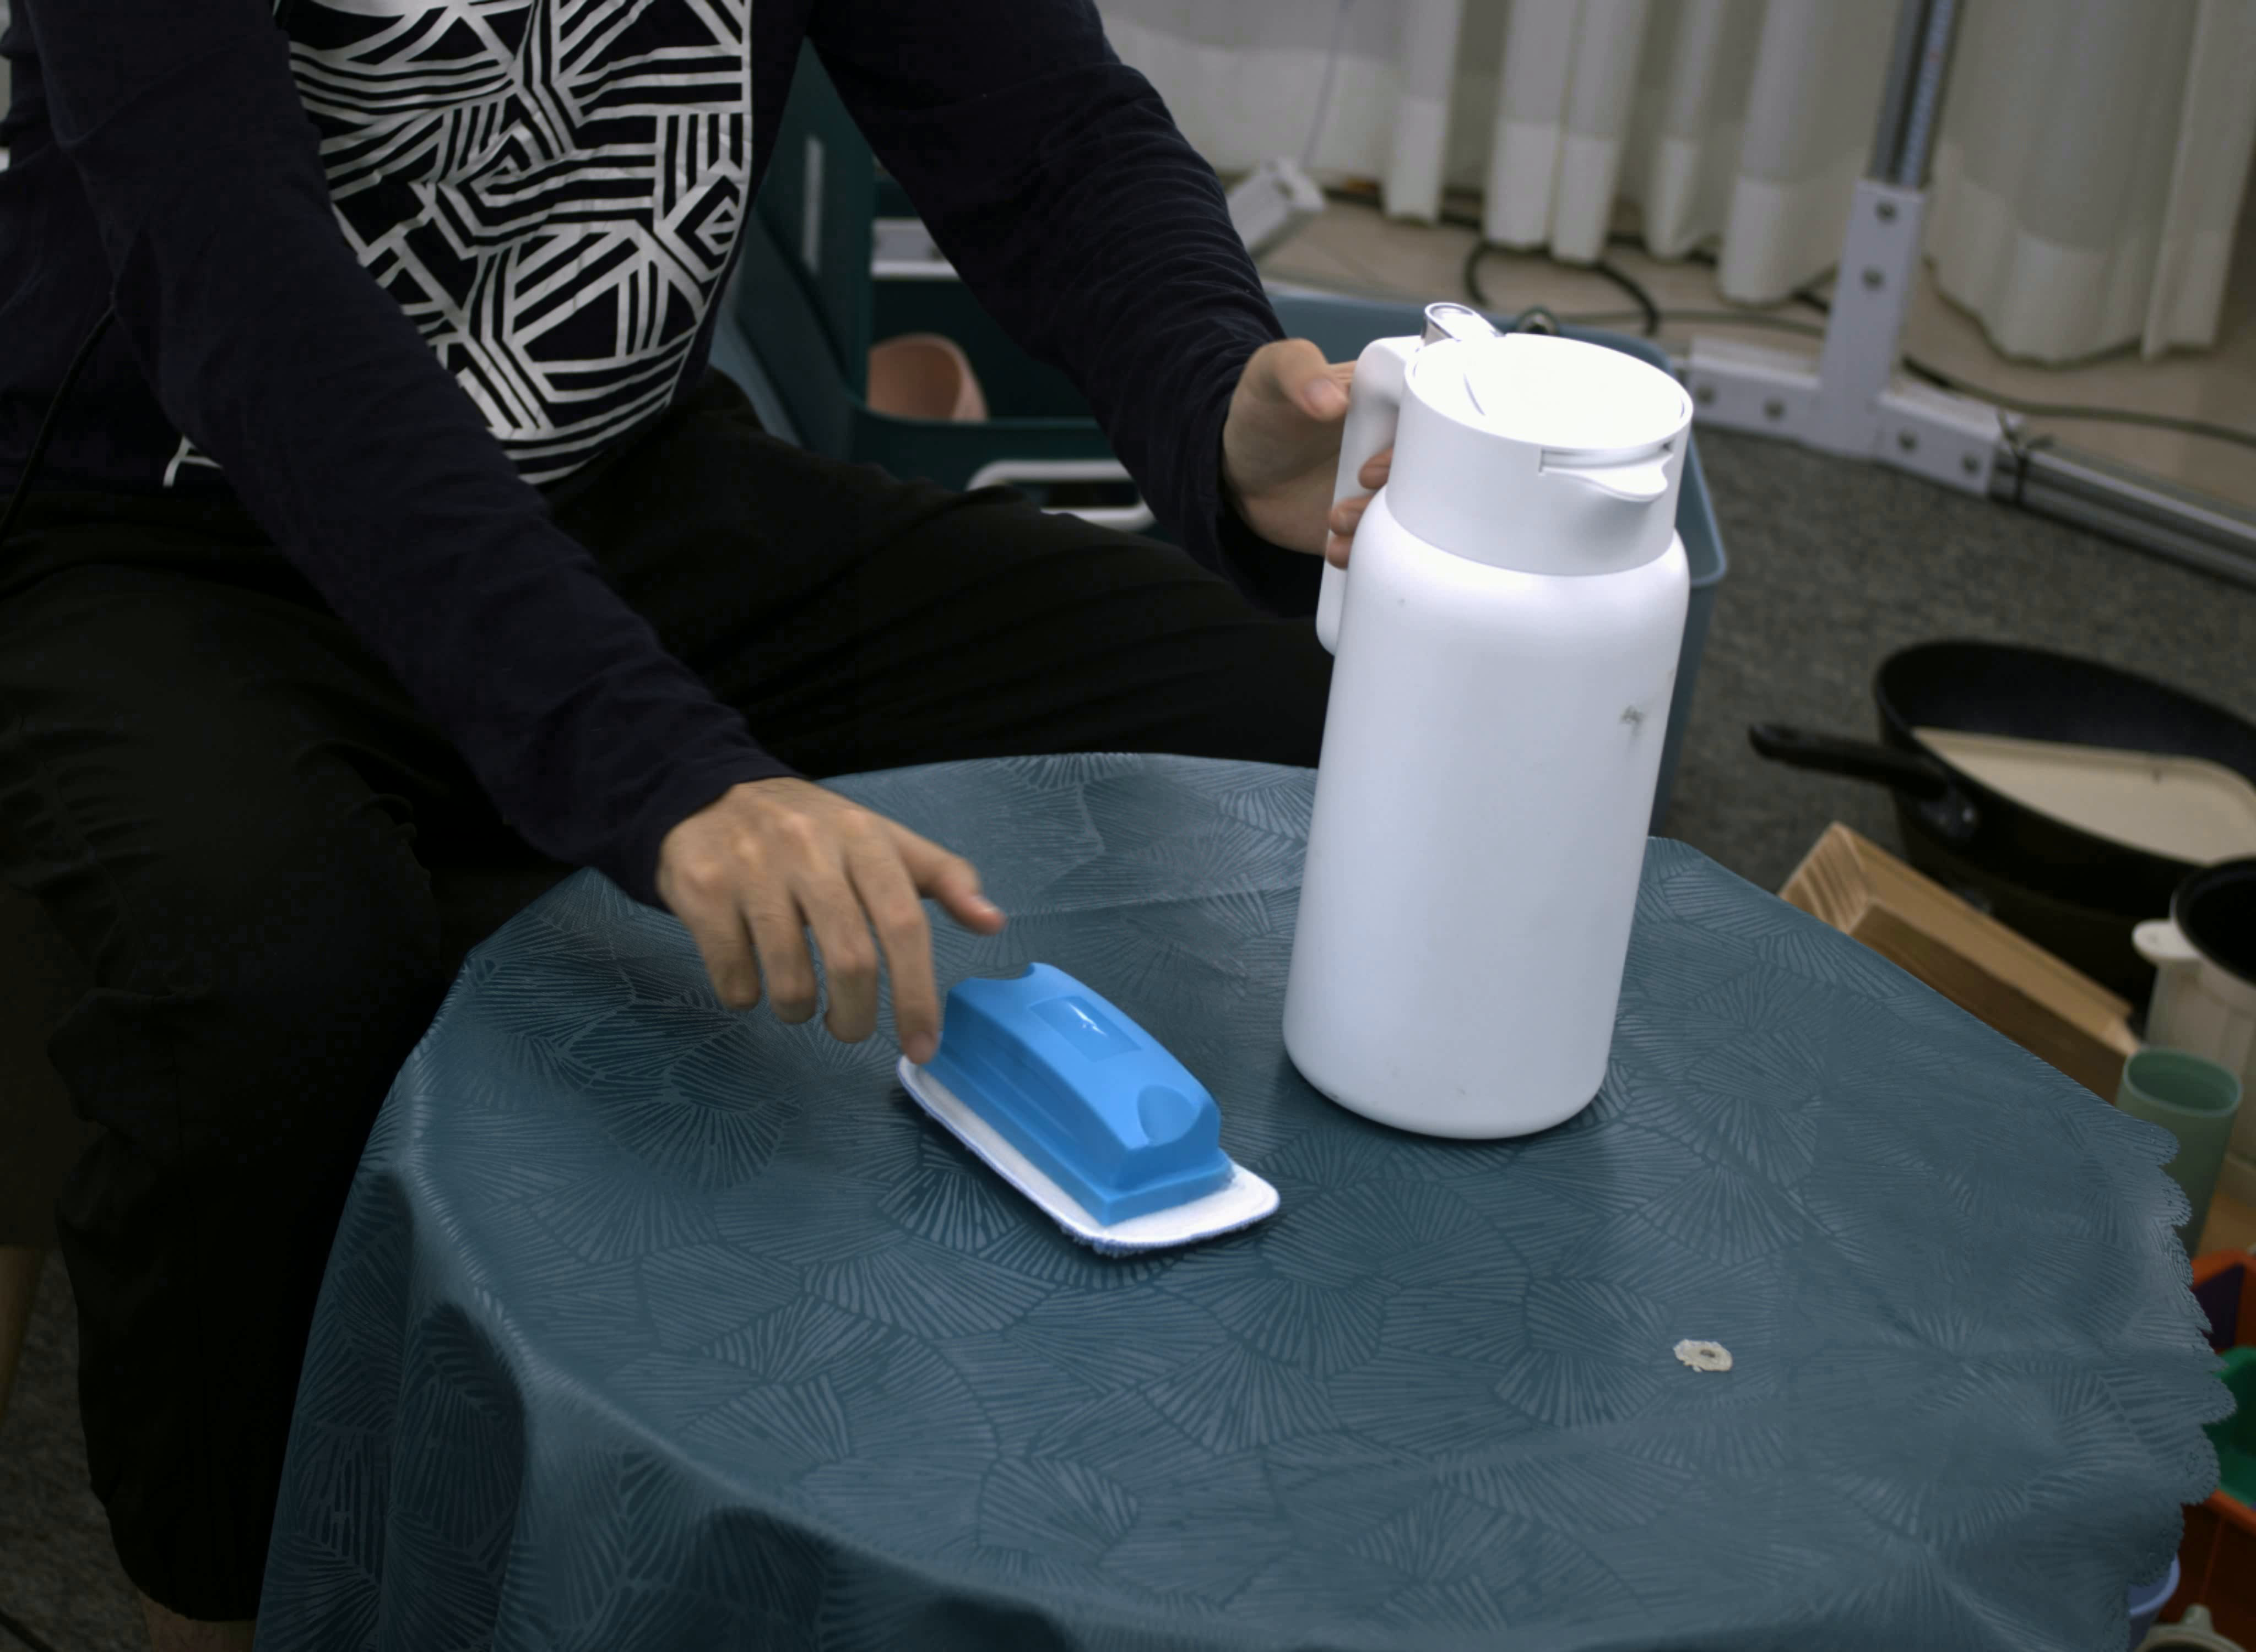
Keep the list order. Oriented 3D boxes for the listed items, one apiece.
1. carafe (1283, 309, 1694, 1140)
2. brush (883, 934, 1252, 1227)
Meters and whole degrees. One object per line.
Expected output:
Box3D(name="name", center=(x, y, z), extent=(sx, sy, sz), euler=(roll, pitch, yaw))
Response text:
Box3D(name="carafe", center=(0.117, -0.039, 1.858), extent=(0.123, 0.268, 0.174), euler=(-10, 30, -27))
Box3D(name="brush", center=(-0.018, 0.082, 1.814), extent=(0.083, 0.056, 0.145), euler=(-8, 34, -32))
